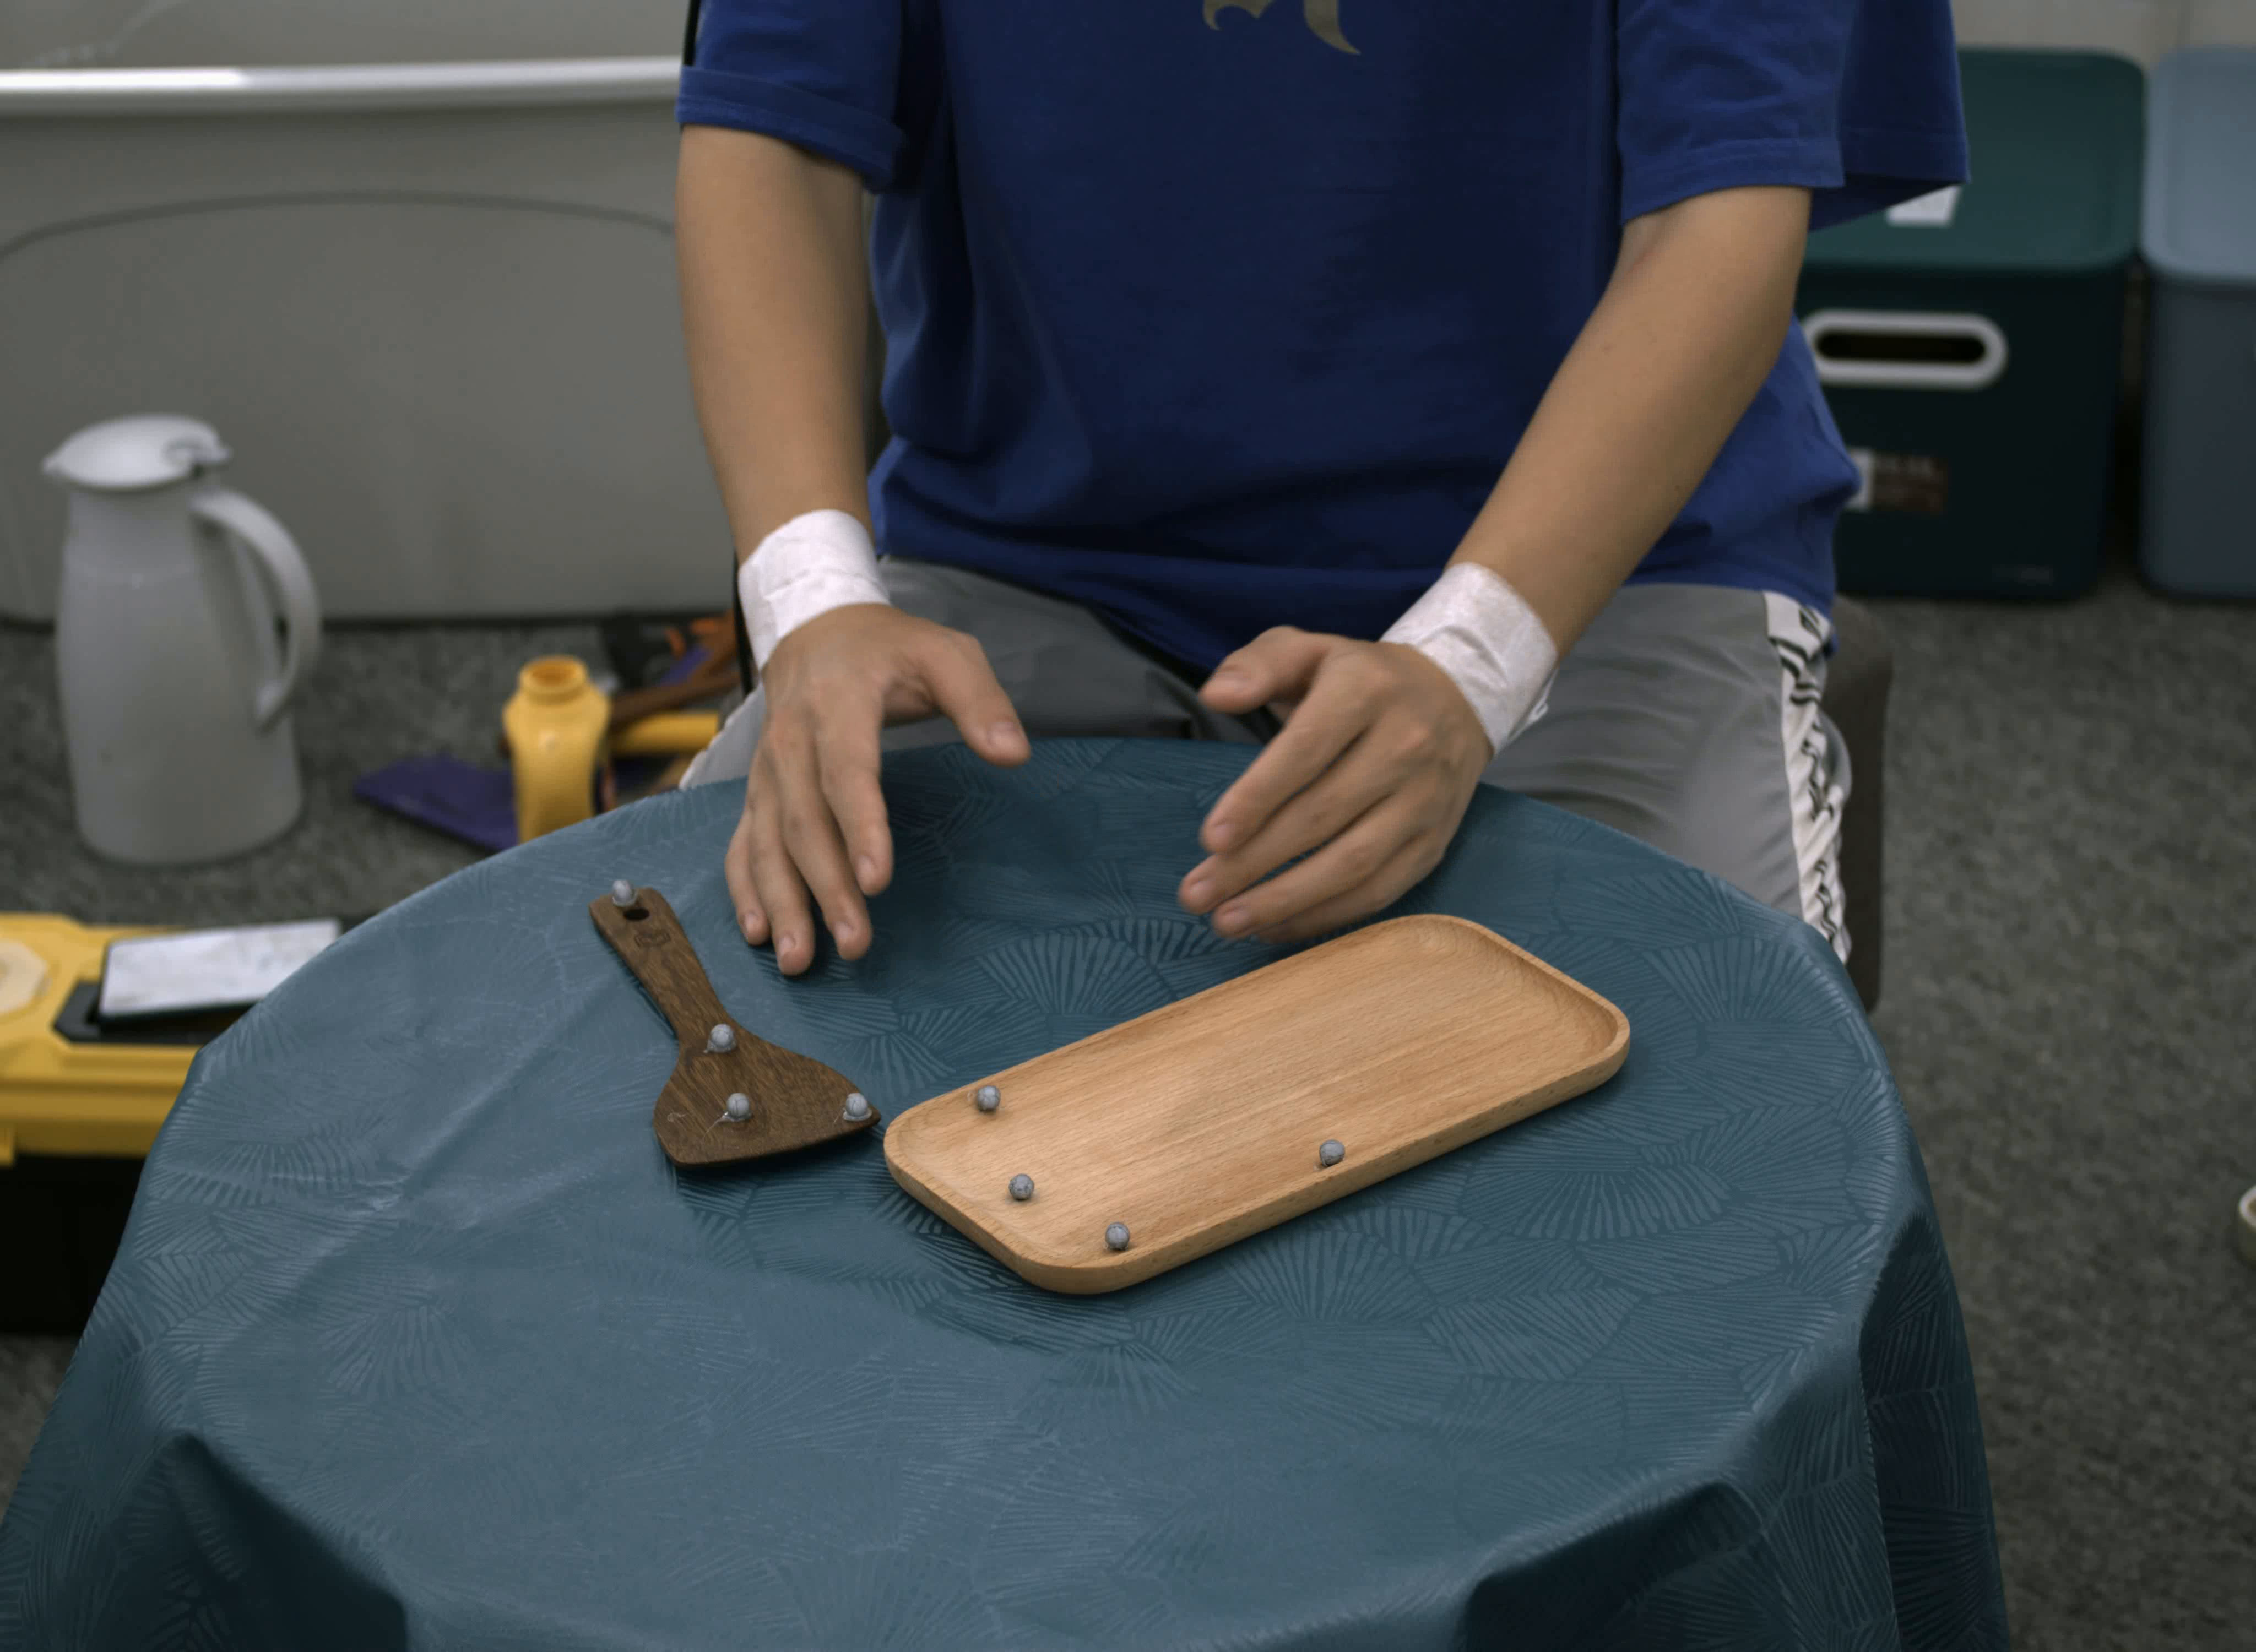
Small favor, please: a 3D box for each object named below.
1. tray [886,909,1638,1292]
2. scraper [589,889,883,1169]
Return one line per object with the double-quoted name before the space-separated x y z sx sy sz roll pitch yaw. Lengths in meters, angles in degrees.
"tray" 0.046 0.091 1.897 0.252 0.022 0.131 -19 34 -30
"scraper" -0.150 0.069 1.968 0.076 0.011 0.213 -11 28 -17
